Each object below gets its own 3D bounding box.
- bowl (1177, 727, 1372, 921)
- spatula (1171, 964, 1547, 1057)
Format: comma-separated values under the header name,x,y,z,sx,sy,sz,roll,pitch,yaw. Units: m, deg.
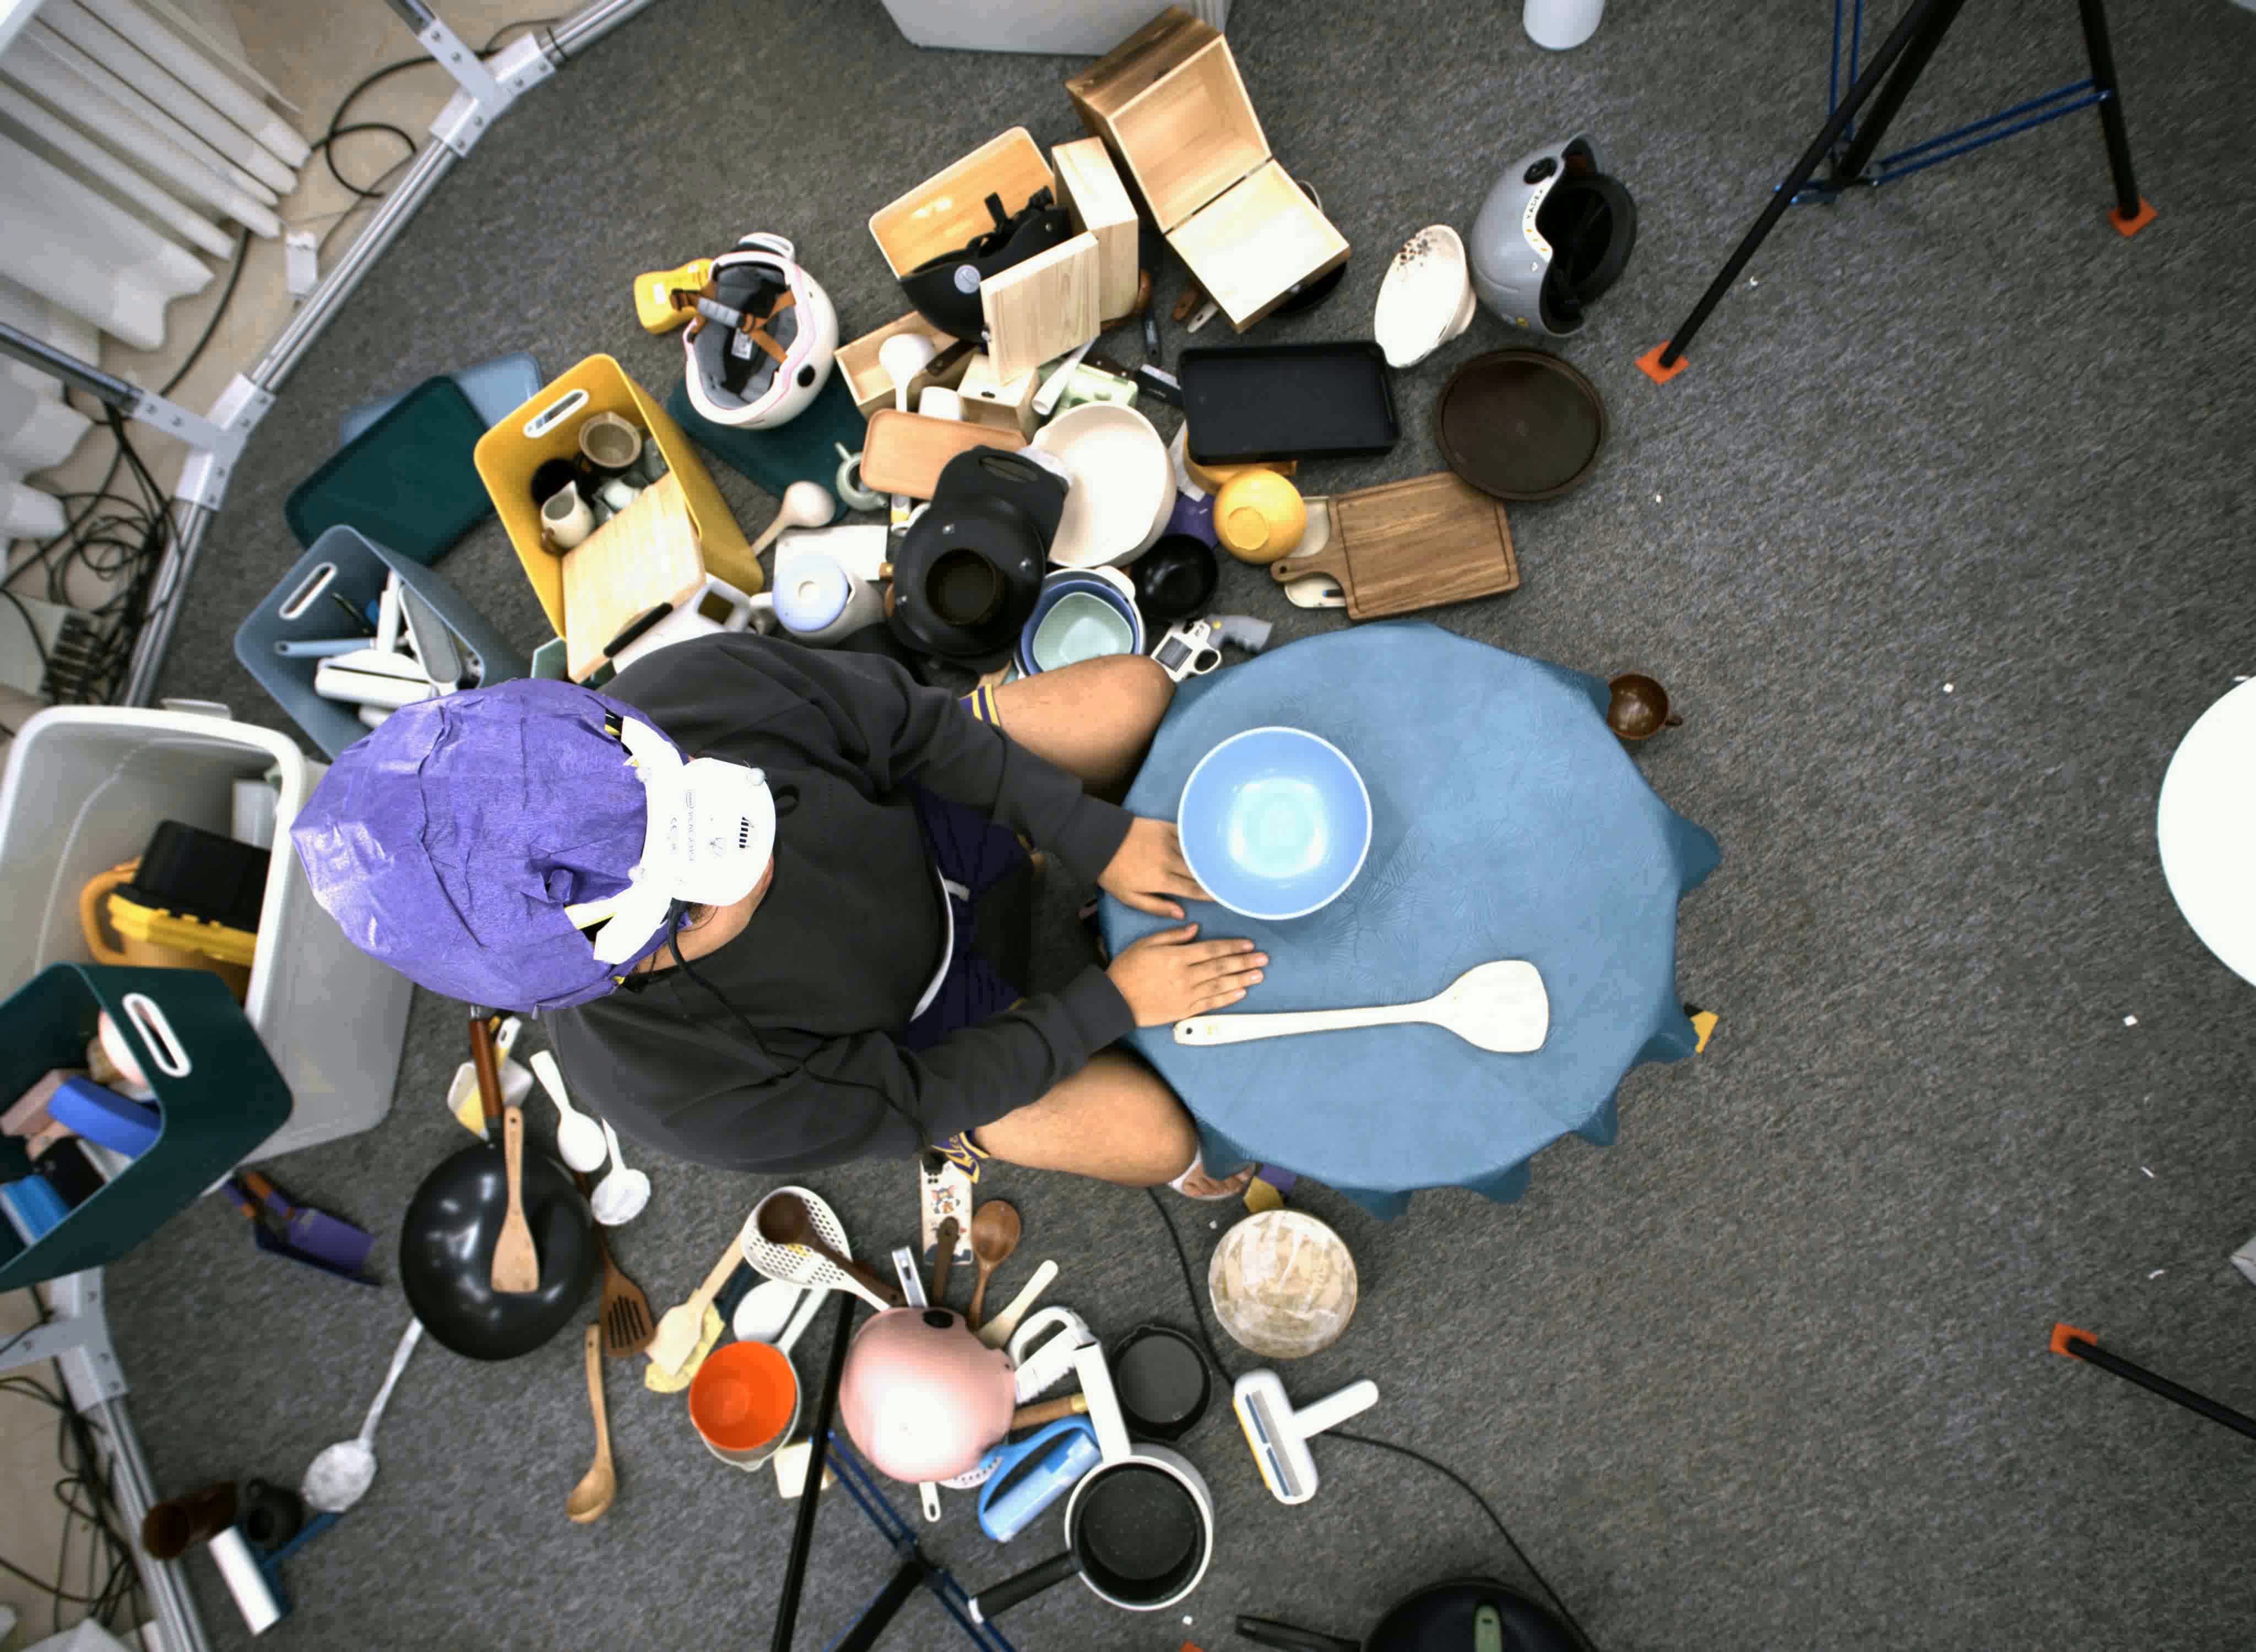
name,x,y,z,sx,sy,sz,roll,pitch,yaw
bowl,0.153,0.000,1.439,0.197,0.095,0.196,0,88,9
spatula,0.238,0.205,1.449,0.392,0.018,0.095,-6,84,10
